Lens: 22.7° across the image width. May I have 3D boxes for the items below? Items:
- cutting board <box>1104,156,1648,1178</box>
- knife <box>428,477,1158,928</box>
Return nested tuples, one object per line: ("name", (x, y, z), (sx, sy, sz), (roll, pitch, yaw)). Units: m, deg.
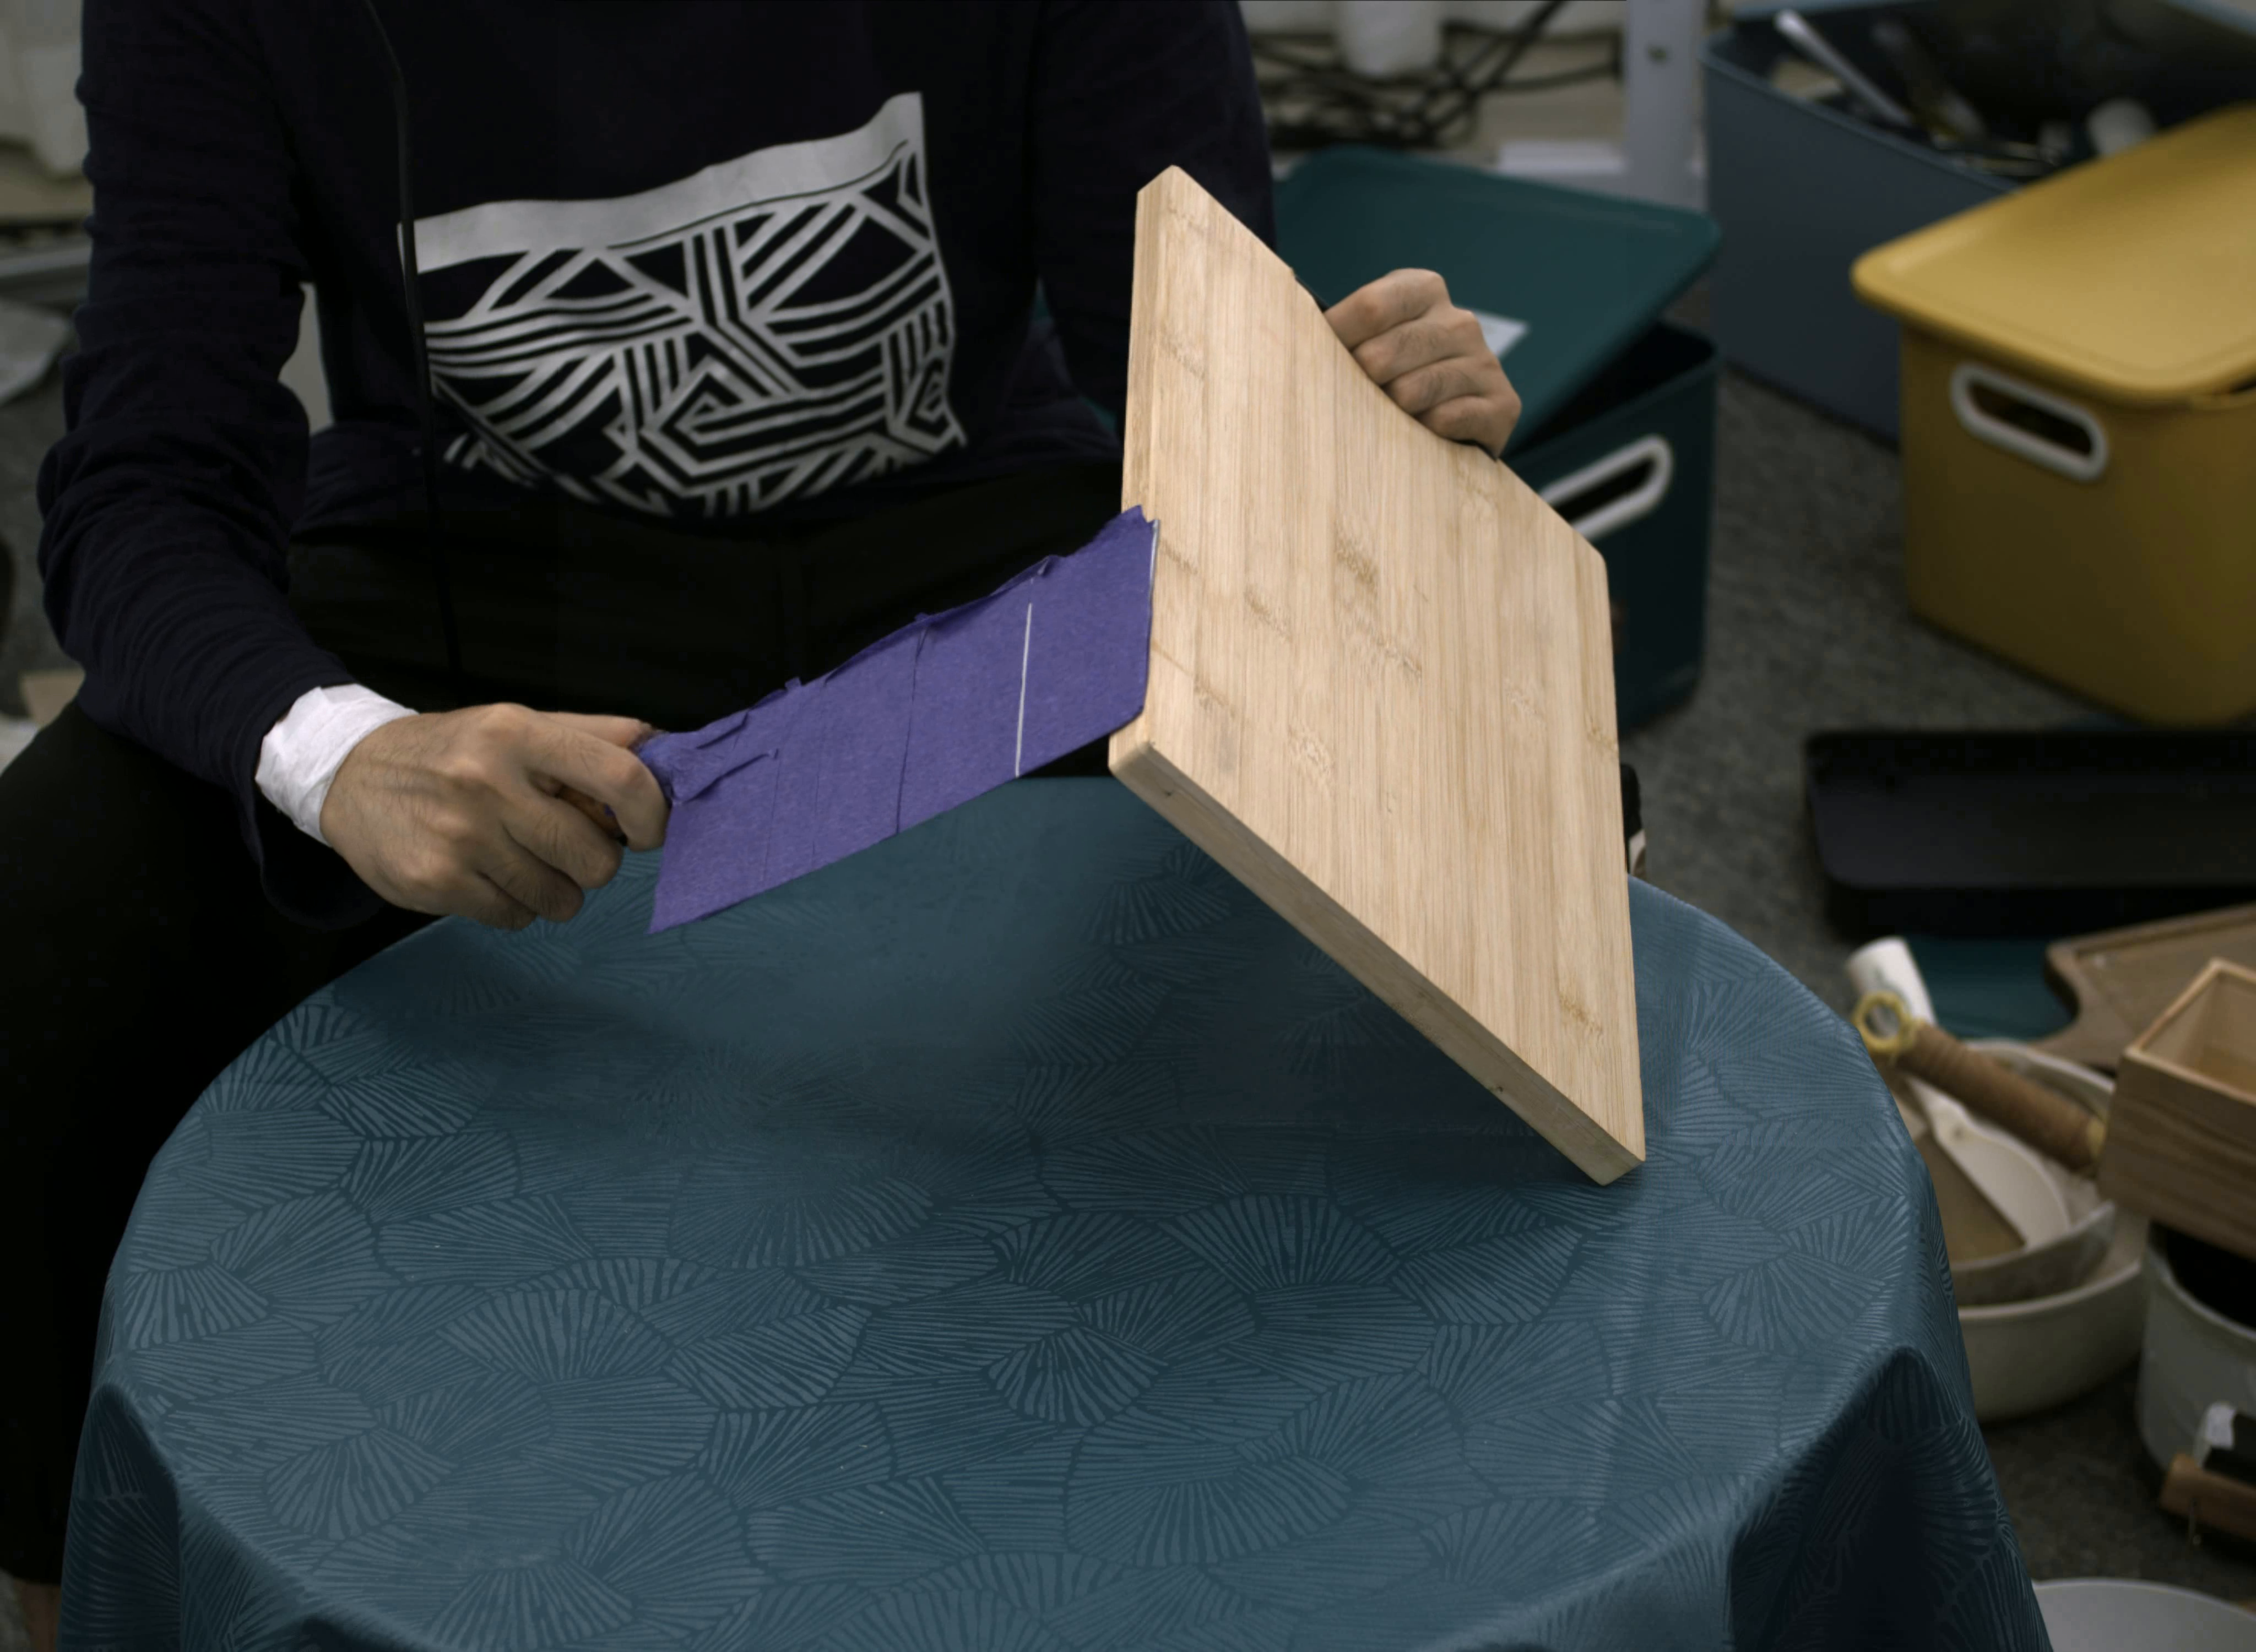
("cutting board", (0.087, -0.062, 1.938), (0.023, 0.249, 0.355), (-36, 29, 26))
("knife", (-0.116, -0.019, 1.859), (0.311, 0.032, 0.106), (-27, 37, 30))
